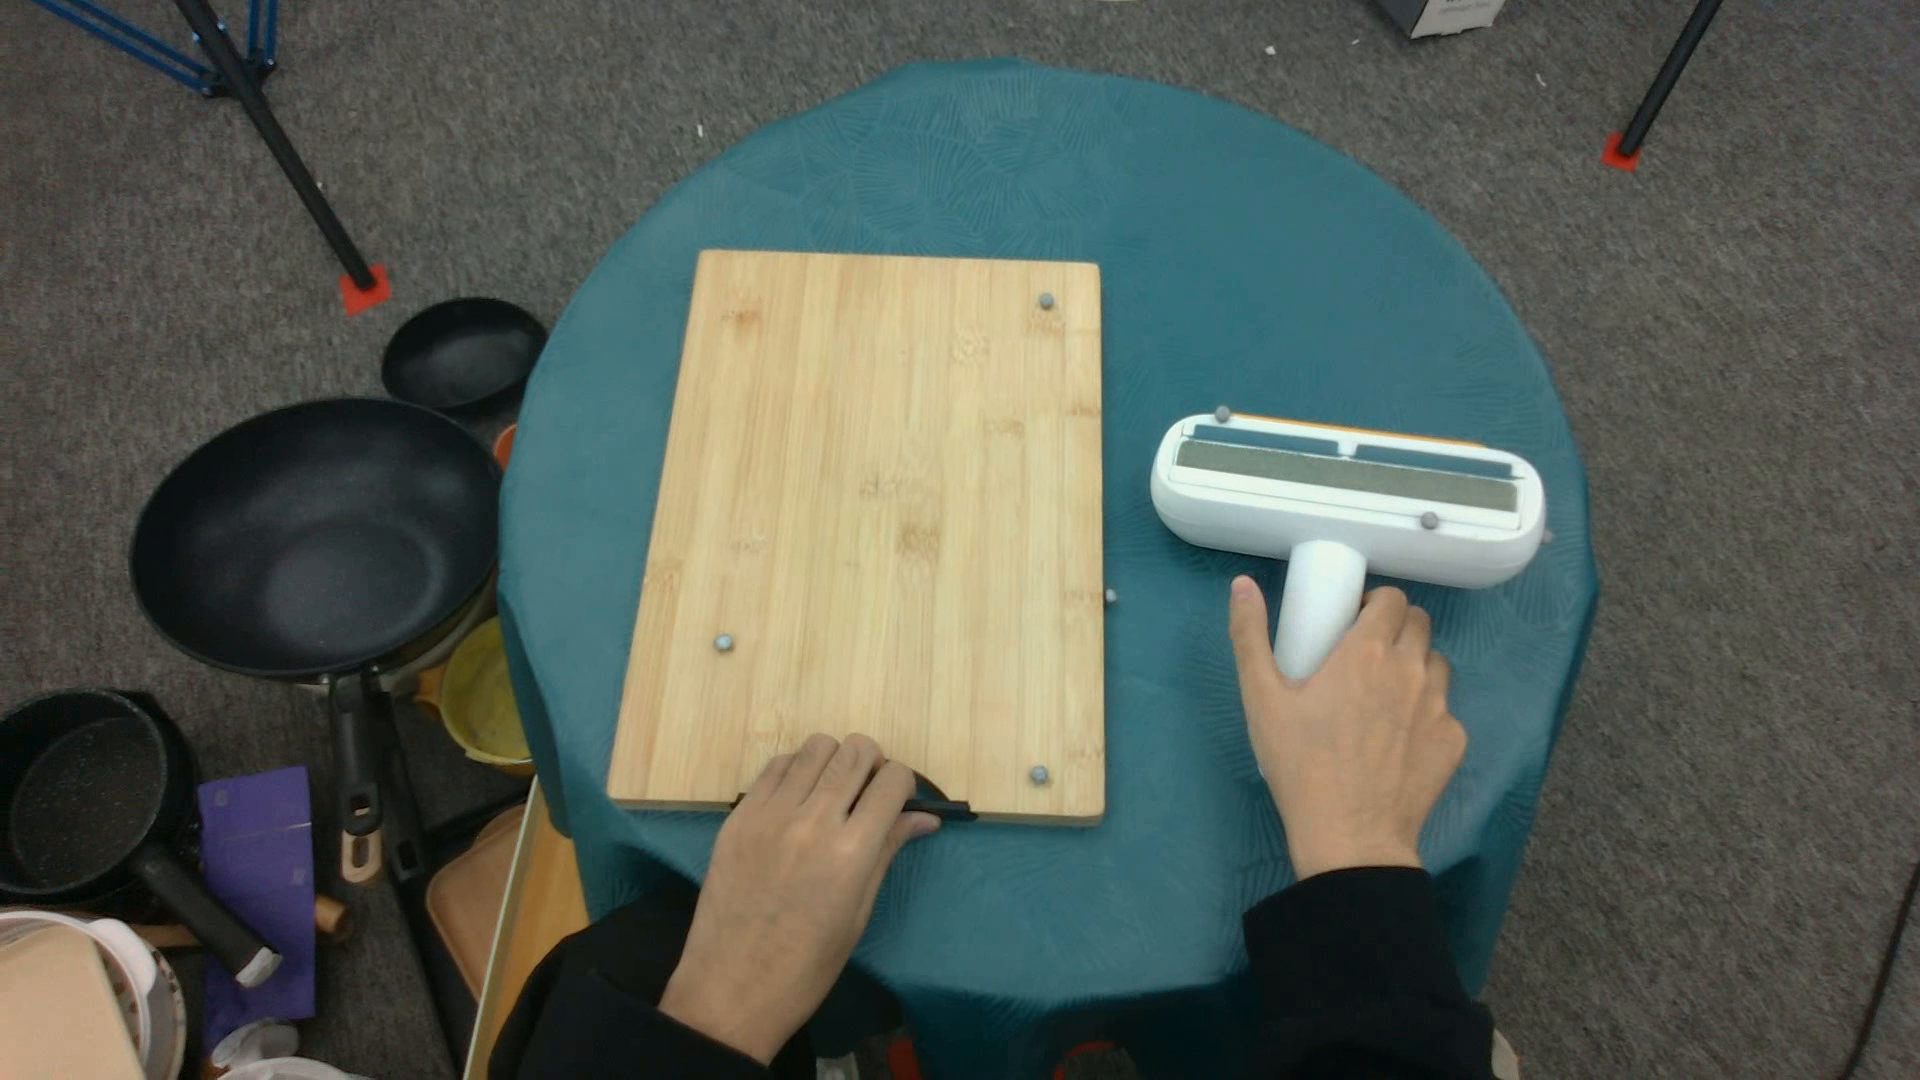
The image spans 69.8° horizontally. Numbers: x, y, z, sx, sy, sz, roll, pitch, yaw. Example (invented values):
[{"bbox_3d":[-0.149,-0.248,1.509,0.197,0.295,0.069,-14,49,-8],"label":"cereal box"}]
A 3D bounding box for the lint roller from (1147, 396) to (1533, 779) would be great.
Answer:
[{"bbox_3d":[0.174,0.024,0.692,0.193,0.074,0.193,15,64,13],"label":"lint roller"}]

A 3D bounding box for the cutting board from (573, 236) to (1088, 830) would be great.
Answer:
[{"bbox_3d":[-0.055,-0.020,0.742,0.251,0.023,0.350,2,61,0],"label":"cutting board"}]
